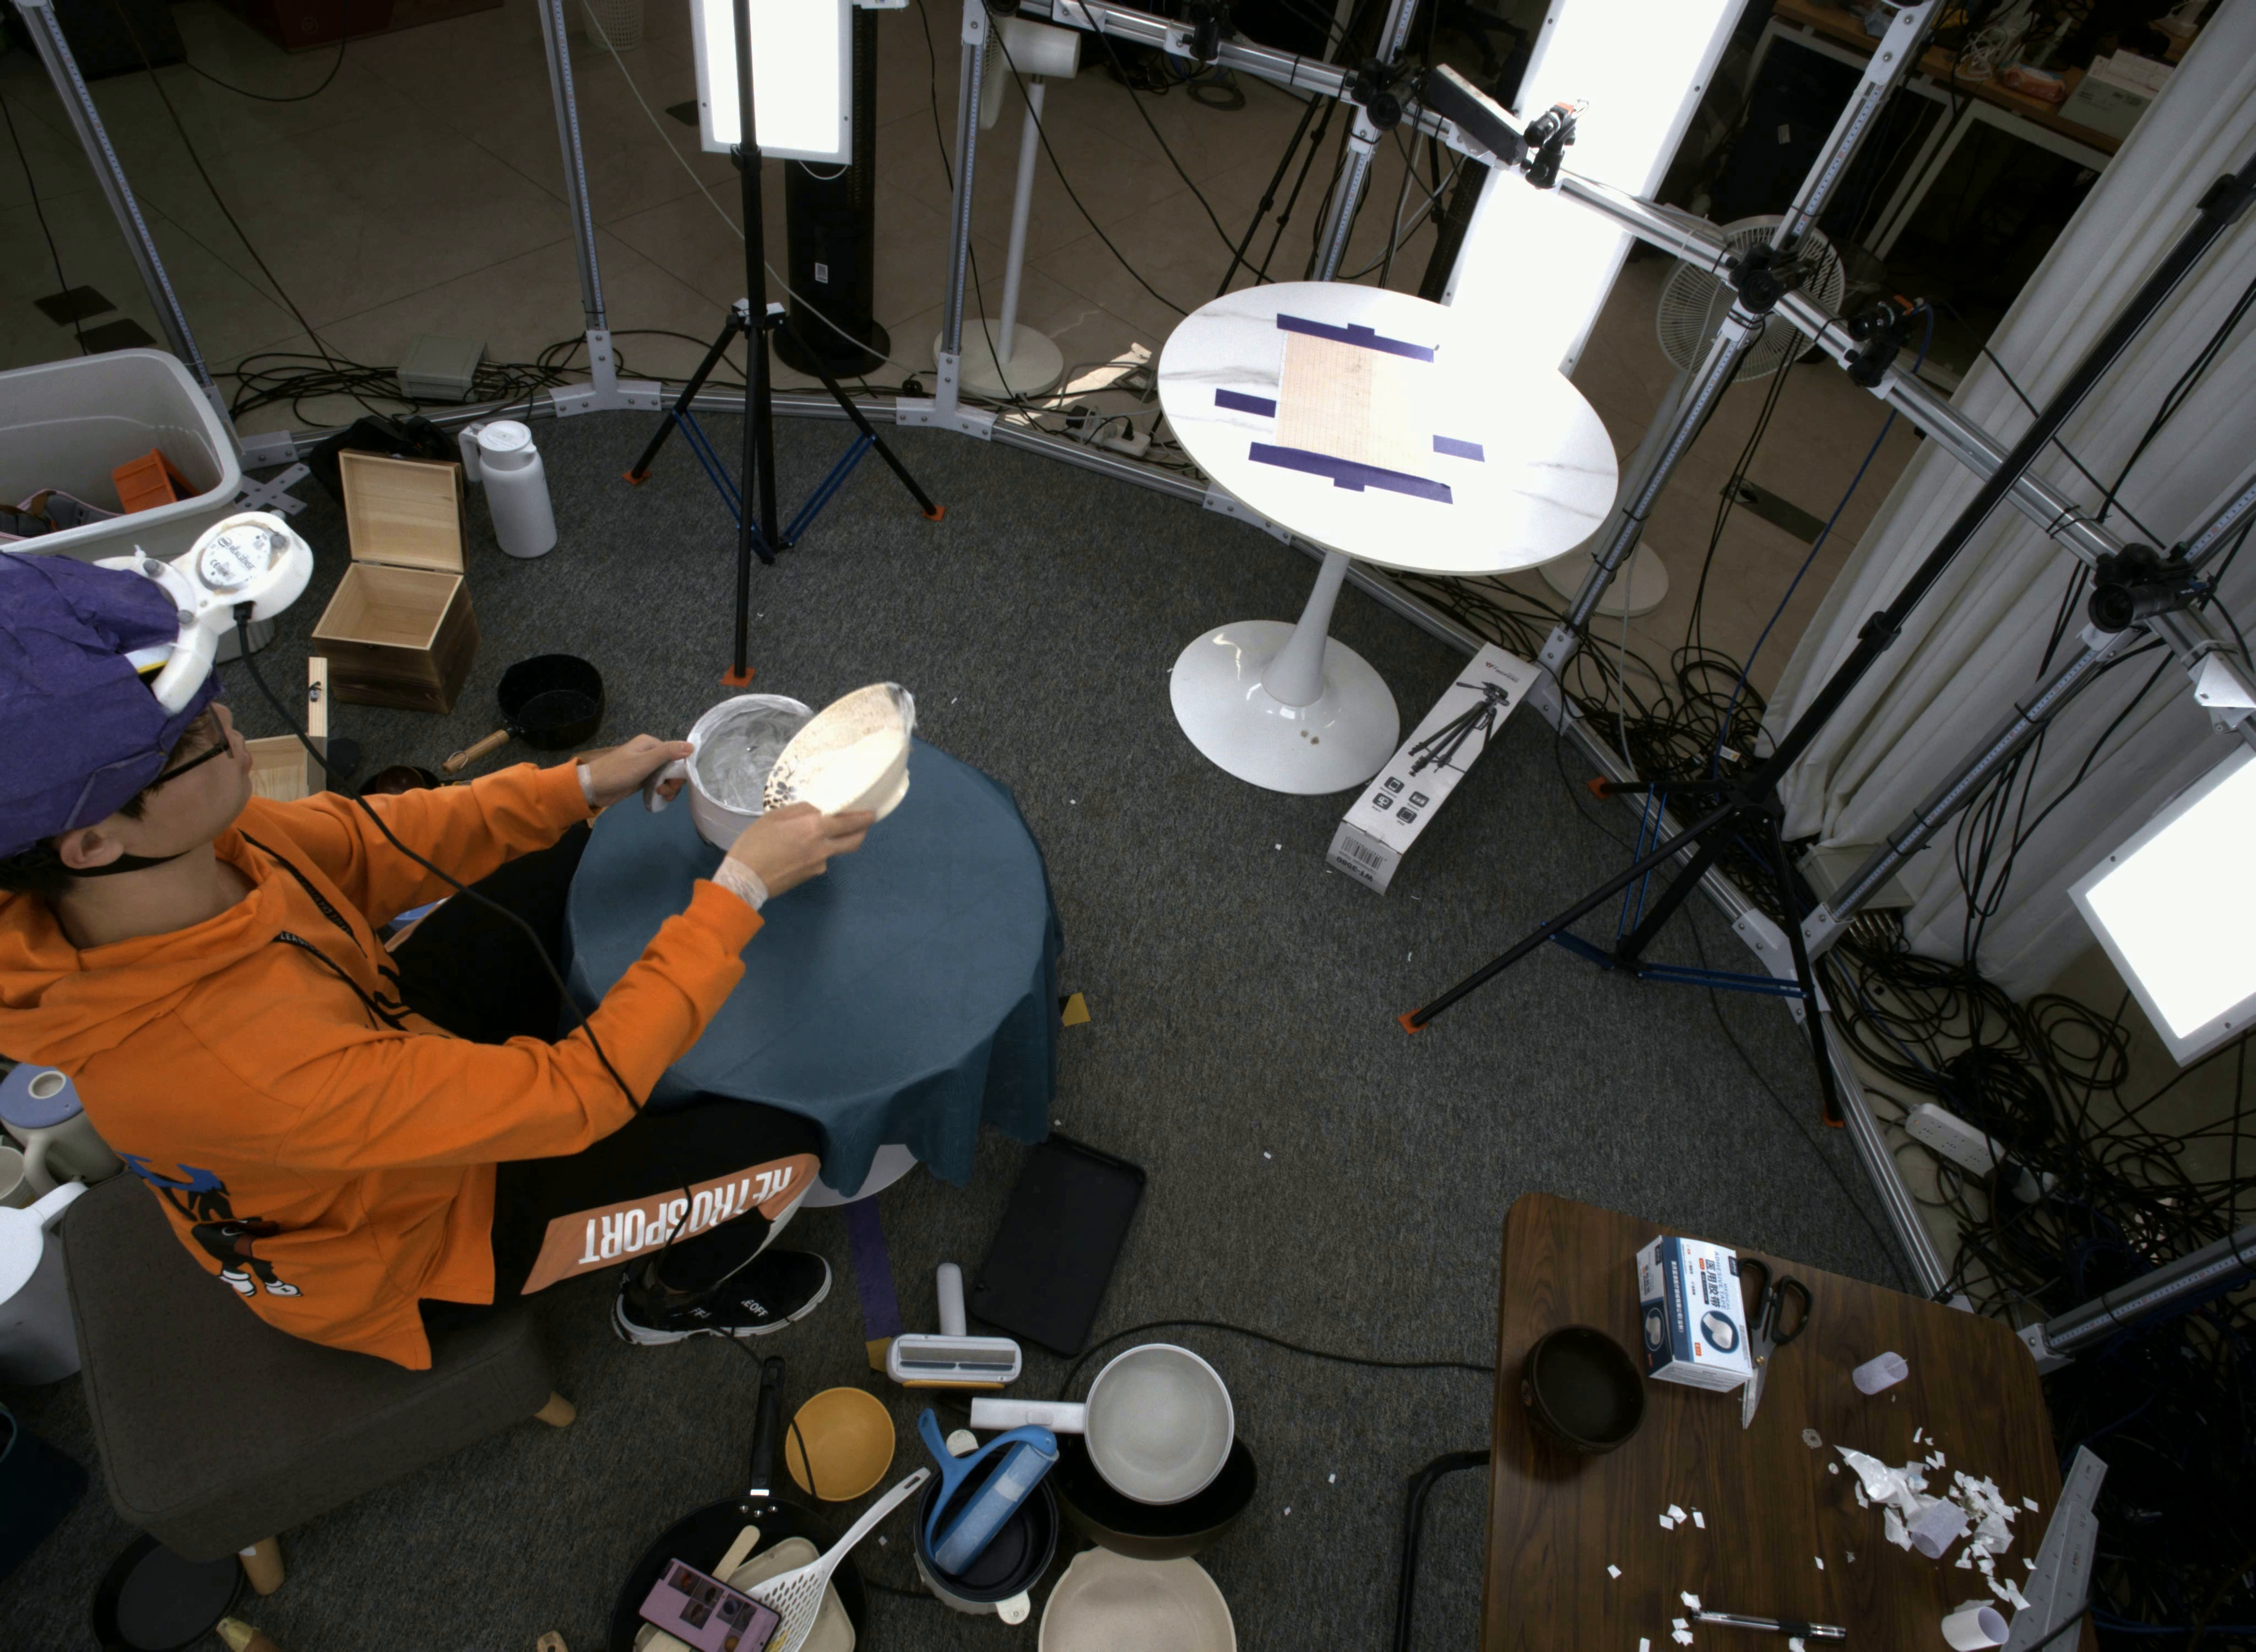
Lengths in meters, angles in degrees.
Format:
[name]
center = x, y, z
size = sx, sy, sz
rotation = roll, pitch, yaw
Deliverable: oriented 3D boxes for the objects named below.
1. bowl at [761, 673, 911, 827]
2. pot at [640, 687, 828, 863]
[bowl]
center = -0.294, -0.062, 1.401
size = 0.200, 0.081, 0.200
rotation = -21, 44, 23
[pot]
center = -0.473, -0.056, 1.558
size = 0.234, 0.139, 0.175
rotation = -1, 58, -16
